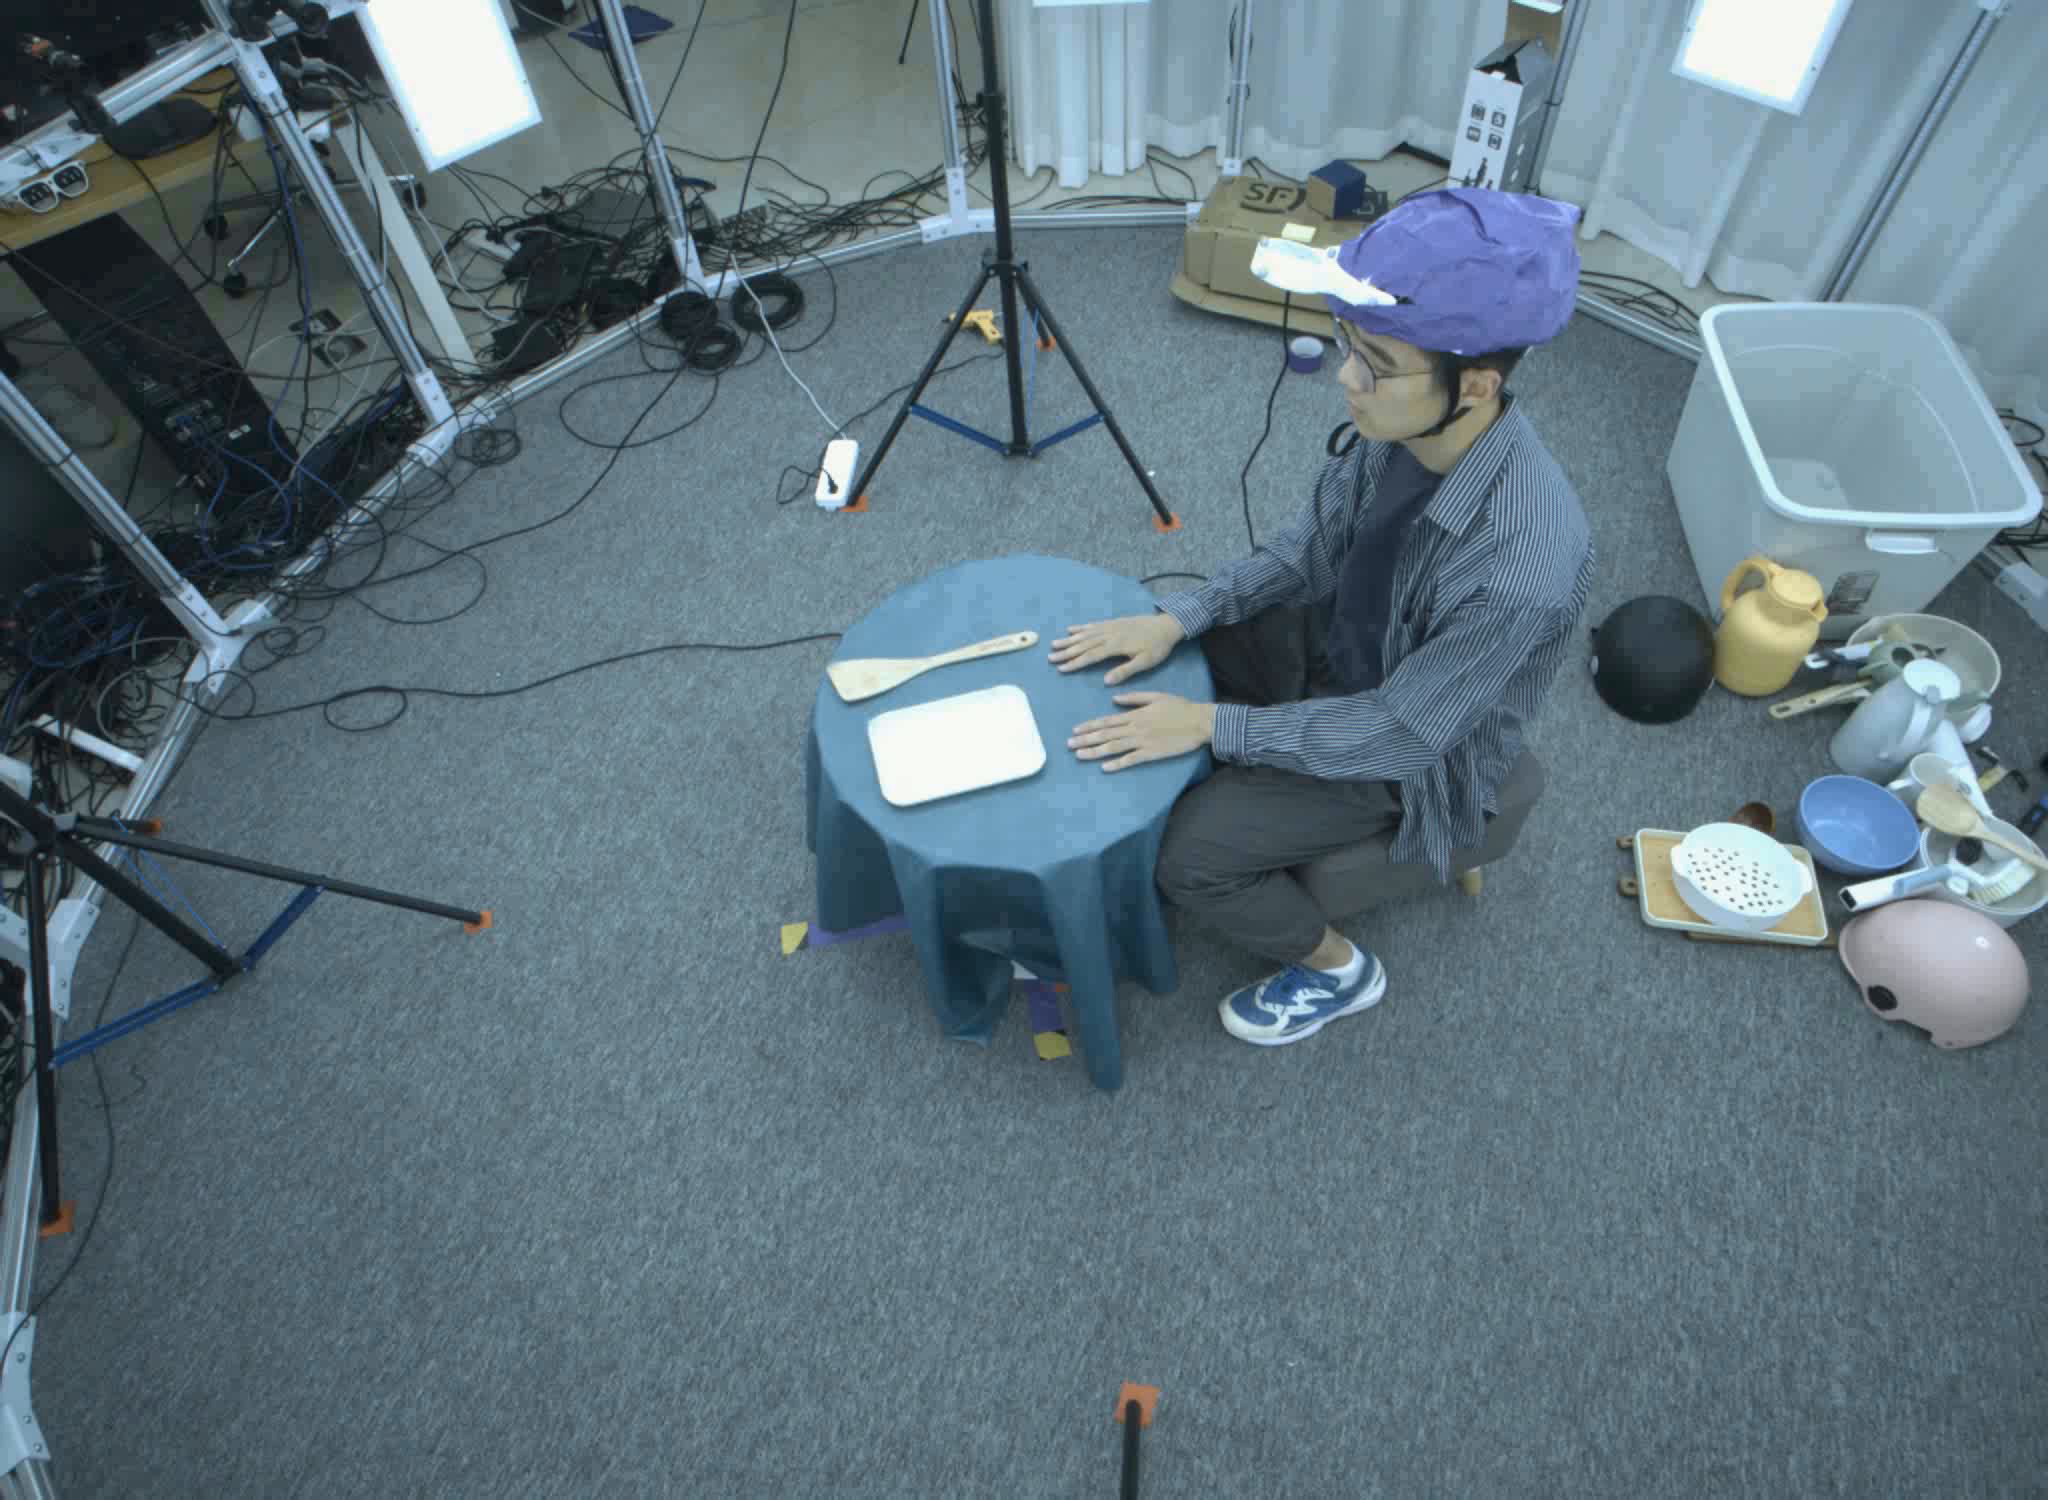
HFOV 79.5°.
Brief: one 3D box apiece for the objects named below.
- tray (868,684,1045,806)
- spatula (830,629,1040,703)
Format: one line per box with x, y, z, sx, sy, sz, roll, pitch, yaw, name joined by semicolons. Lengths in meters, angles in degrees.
-0.099;-0.007;1.789;0.241;0.017;0.168;-13;56;-8;tray
-0.132;-0.138;1.883;0.329;0.017;0.078;-16;57;-9;spatula
